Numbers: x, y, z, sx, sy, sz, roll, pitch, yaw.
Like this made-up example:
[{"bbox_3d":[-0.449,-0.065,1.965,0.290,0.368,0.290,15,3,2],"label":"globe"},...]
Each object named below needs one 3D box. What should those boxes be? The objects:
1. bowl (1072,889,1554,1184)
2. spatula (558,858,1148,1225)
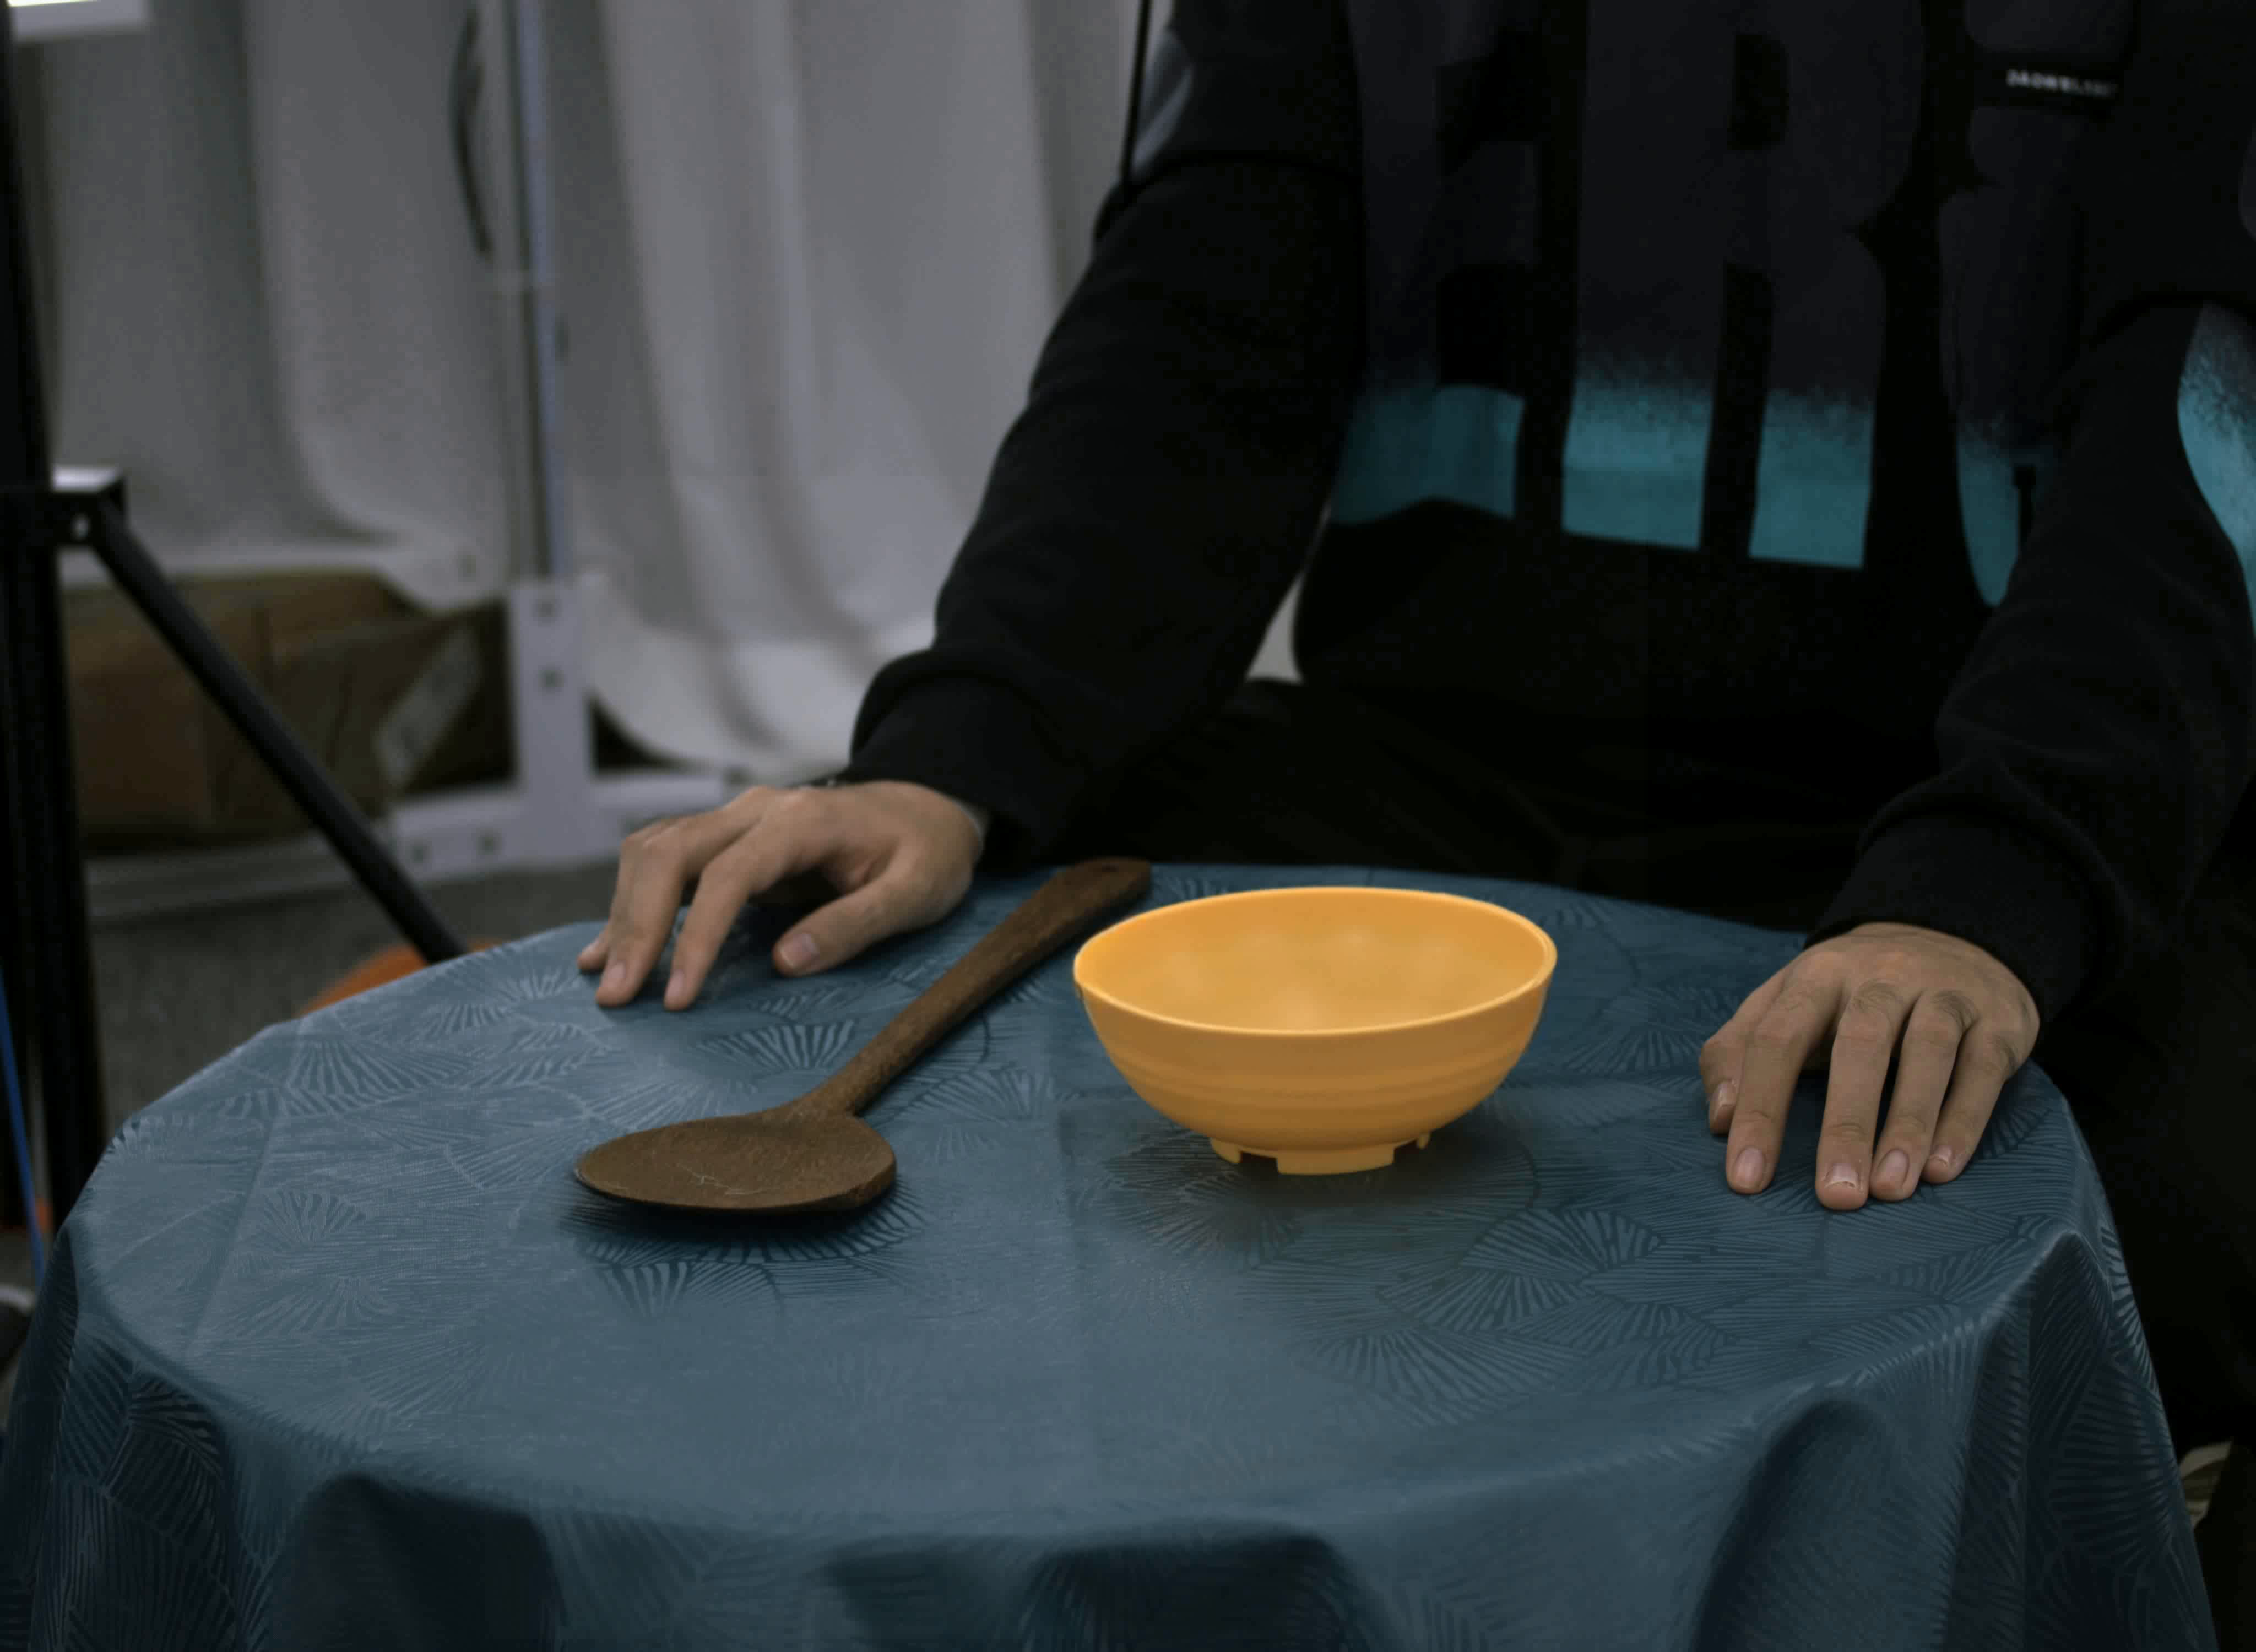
[{"bbox_3d":[0.055,0.068,1.589,0.144,0.060,0.146,0,16,-1],"label":"bowl"},{"bbox_3d":[-0.065,0.063,1.704,0.097,0.016,0.381,4,17,20],"label":"spatula"}]
